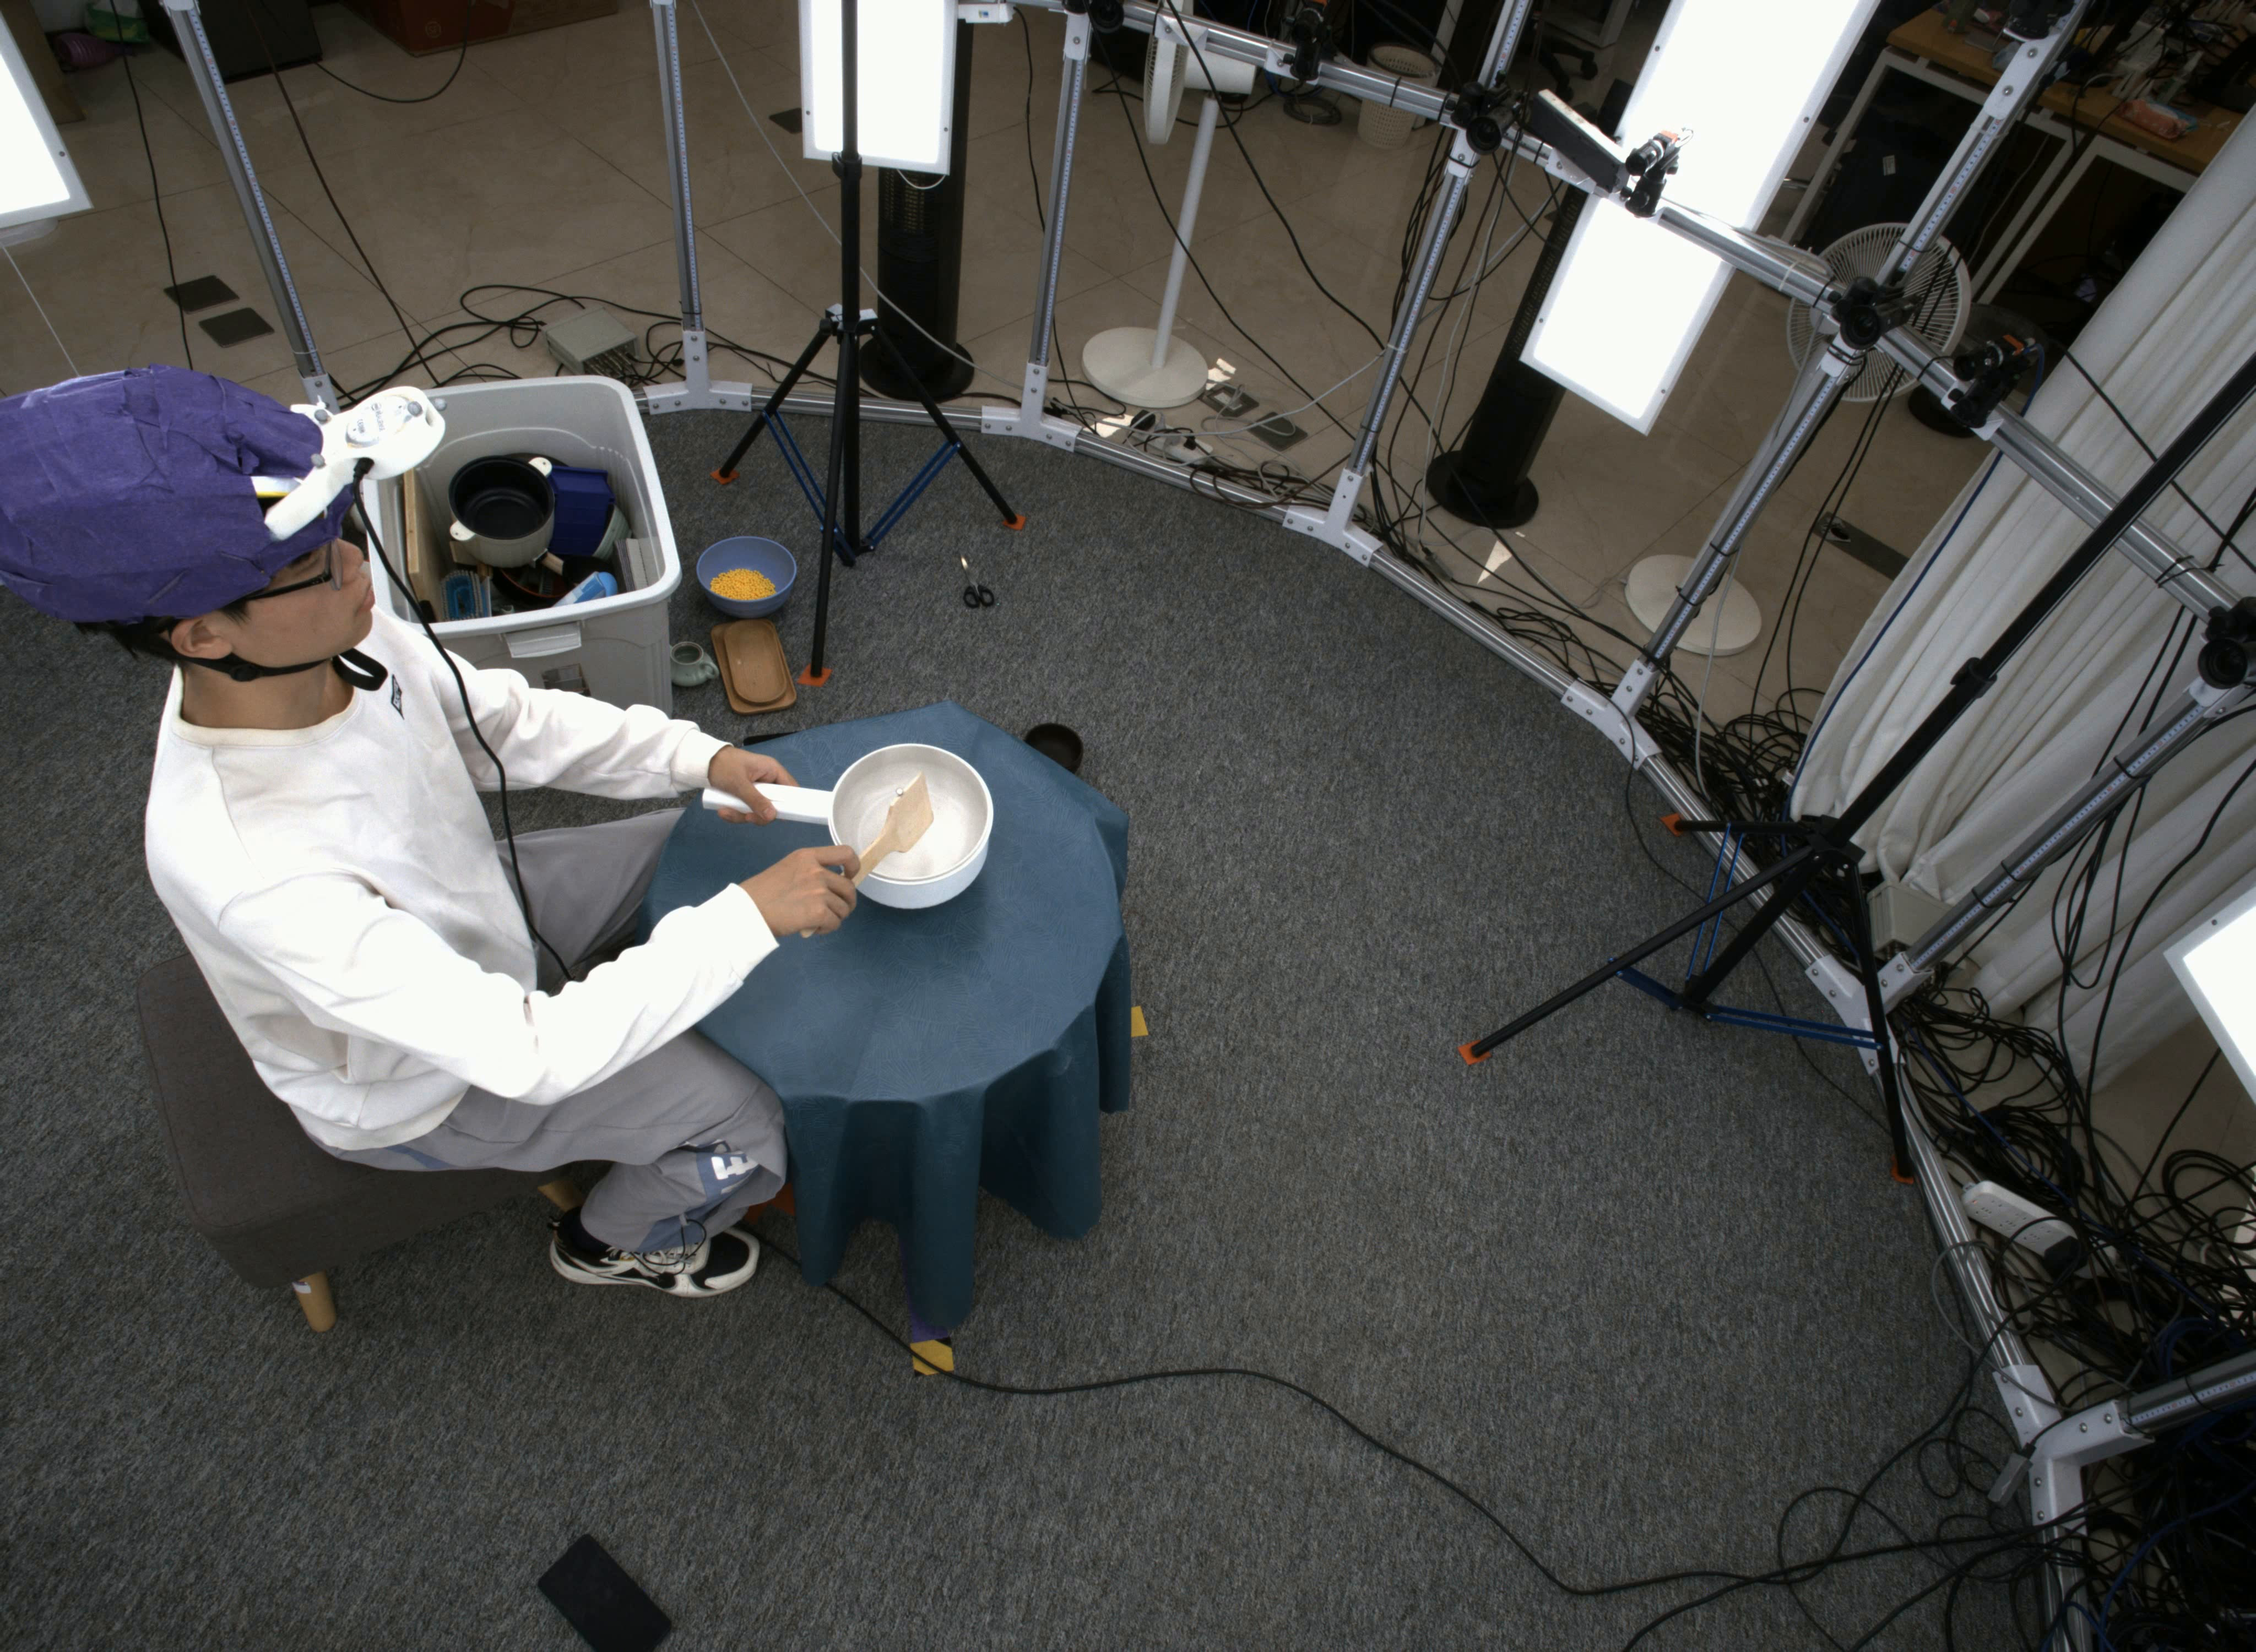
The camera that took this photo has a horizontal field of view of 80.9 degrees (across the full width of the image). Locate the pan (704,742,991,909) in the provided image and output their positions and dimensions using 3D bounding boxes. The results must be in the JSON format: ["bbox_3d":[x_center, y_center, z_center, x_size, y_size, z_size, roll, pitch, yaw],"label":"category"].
[{"bbox_3d":[-0.350,-0.005,1.641,0.353,0.104,0.198,7,60,-6],"label":"pan"}]

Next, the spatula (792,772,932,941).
[{"bbox_3d":[-0.297,0.035,1.475,0.010,0.075,0.291,7,34,21],"label":"spatula"}]
